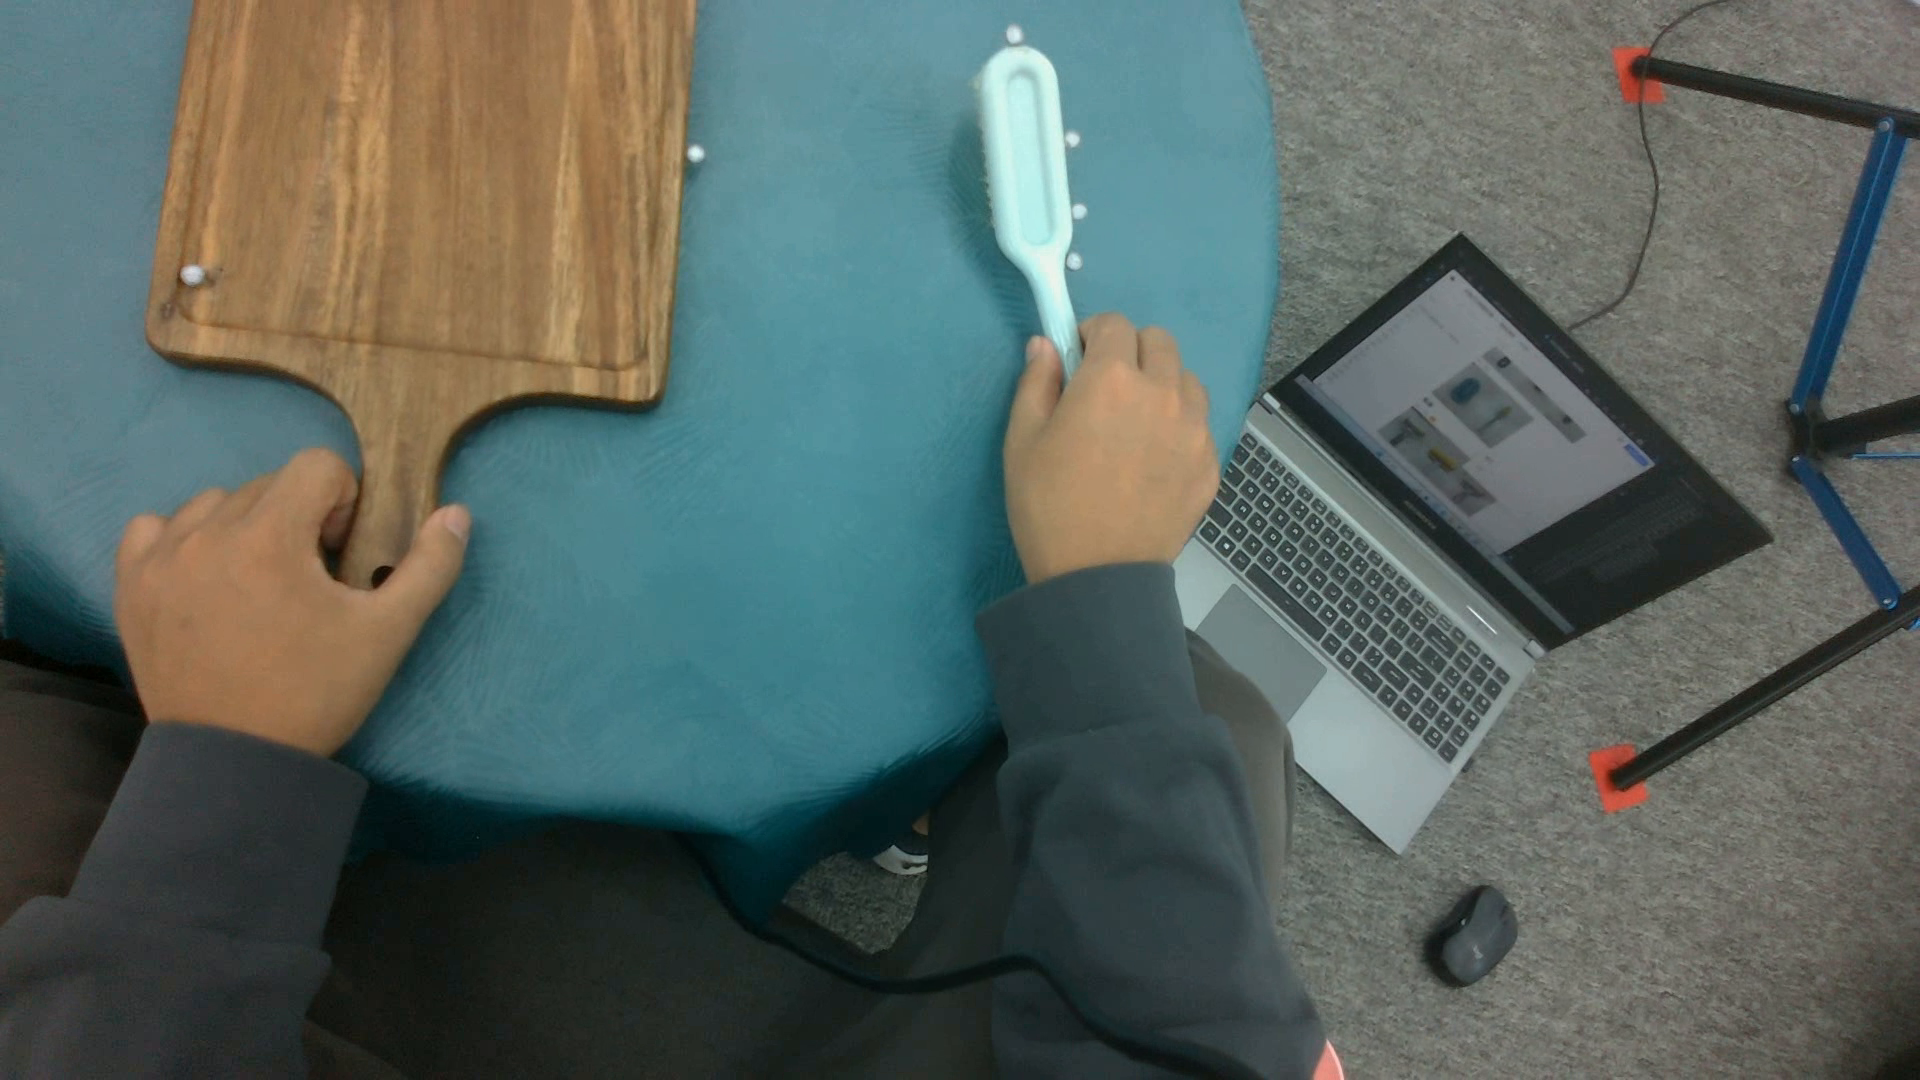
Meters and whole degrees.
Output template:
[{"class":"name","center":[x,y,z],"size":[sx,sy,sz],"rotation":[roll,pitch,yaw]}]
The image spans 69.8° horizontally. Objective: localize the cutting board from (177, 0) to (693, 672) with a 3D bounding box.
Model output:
[{"class":"cutting board","center":[-0.221,-0.120,0.593],"size":[0.201,0.023,0.352],"rotation":[3,79,-12]}]

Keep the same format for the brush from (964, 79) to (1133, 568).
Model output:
[{"class":"brush","center":[0.044,-0.099,0.647],"size":[0.038,0.049,0.228],"rotation":[-16,92,-10]}]
